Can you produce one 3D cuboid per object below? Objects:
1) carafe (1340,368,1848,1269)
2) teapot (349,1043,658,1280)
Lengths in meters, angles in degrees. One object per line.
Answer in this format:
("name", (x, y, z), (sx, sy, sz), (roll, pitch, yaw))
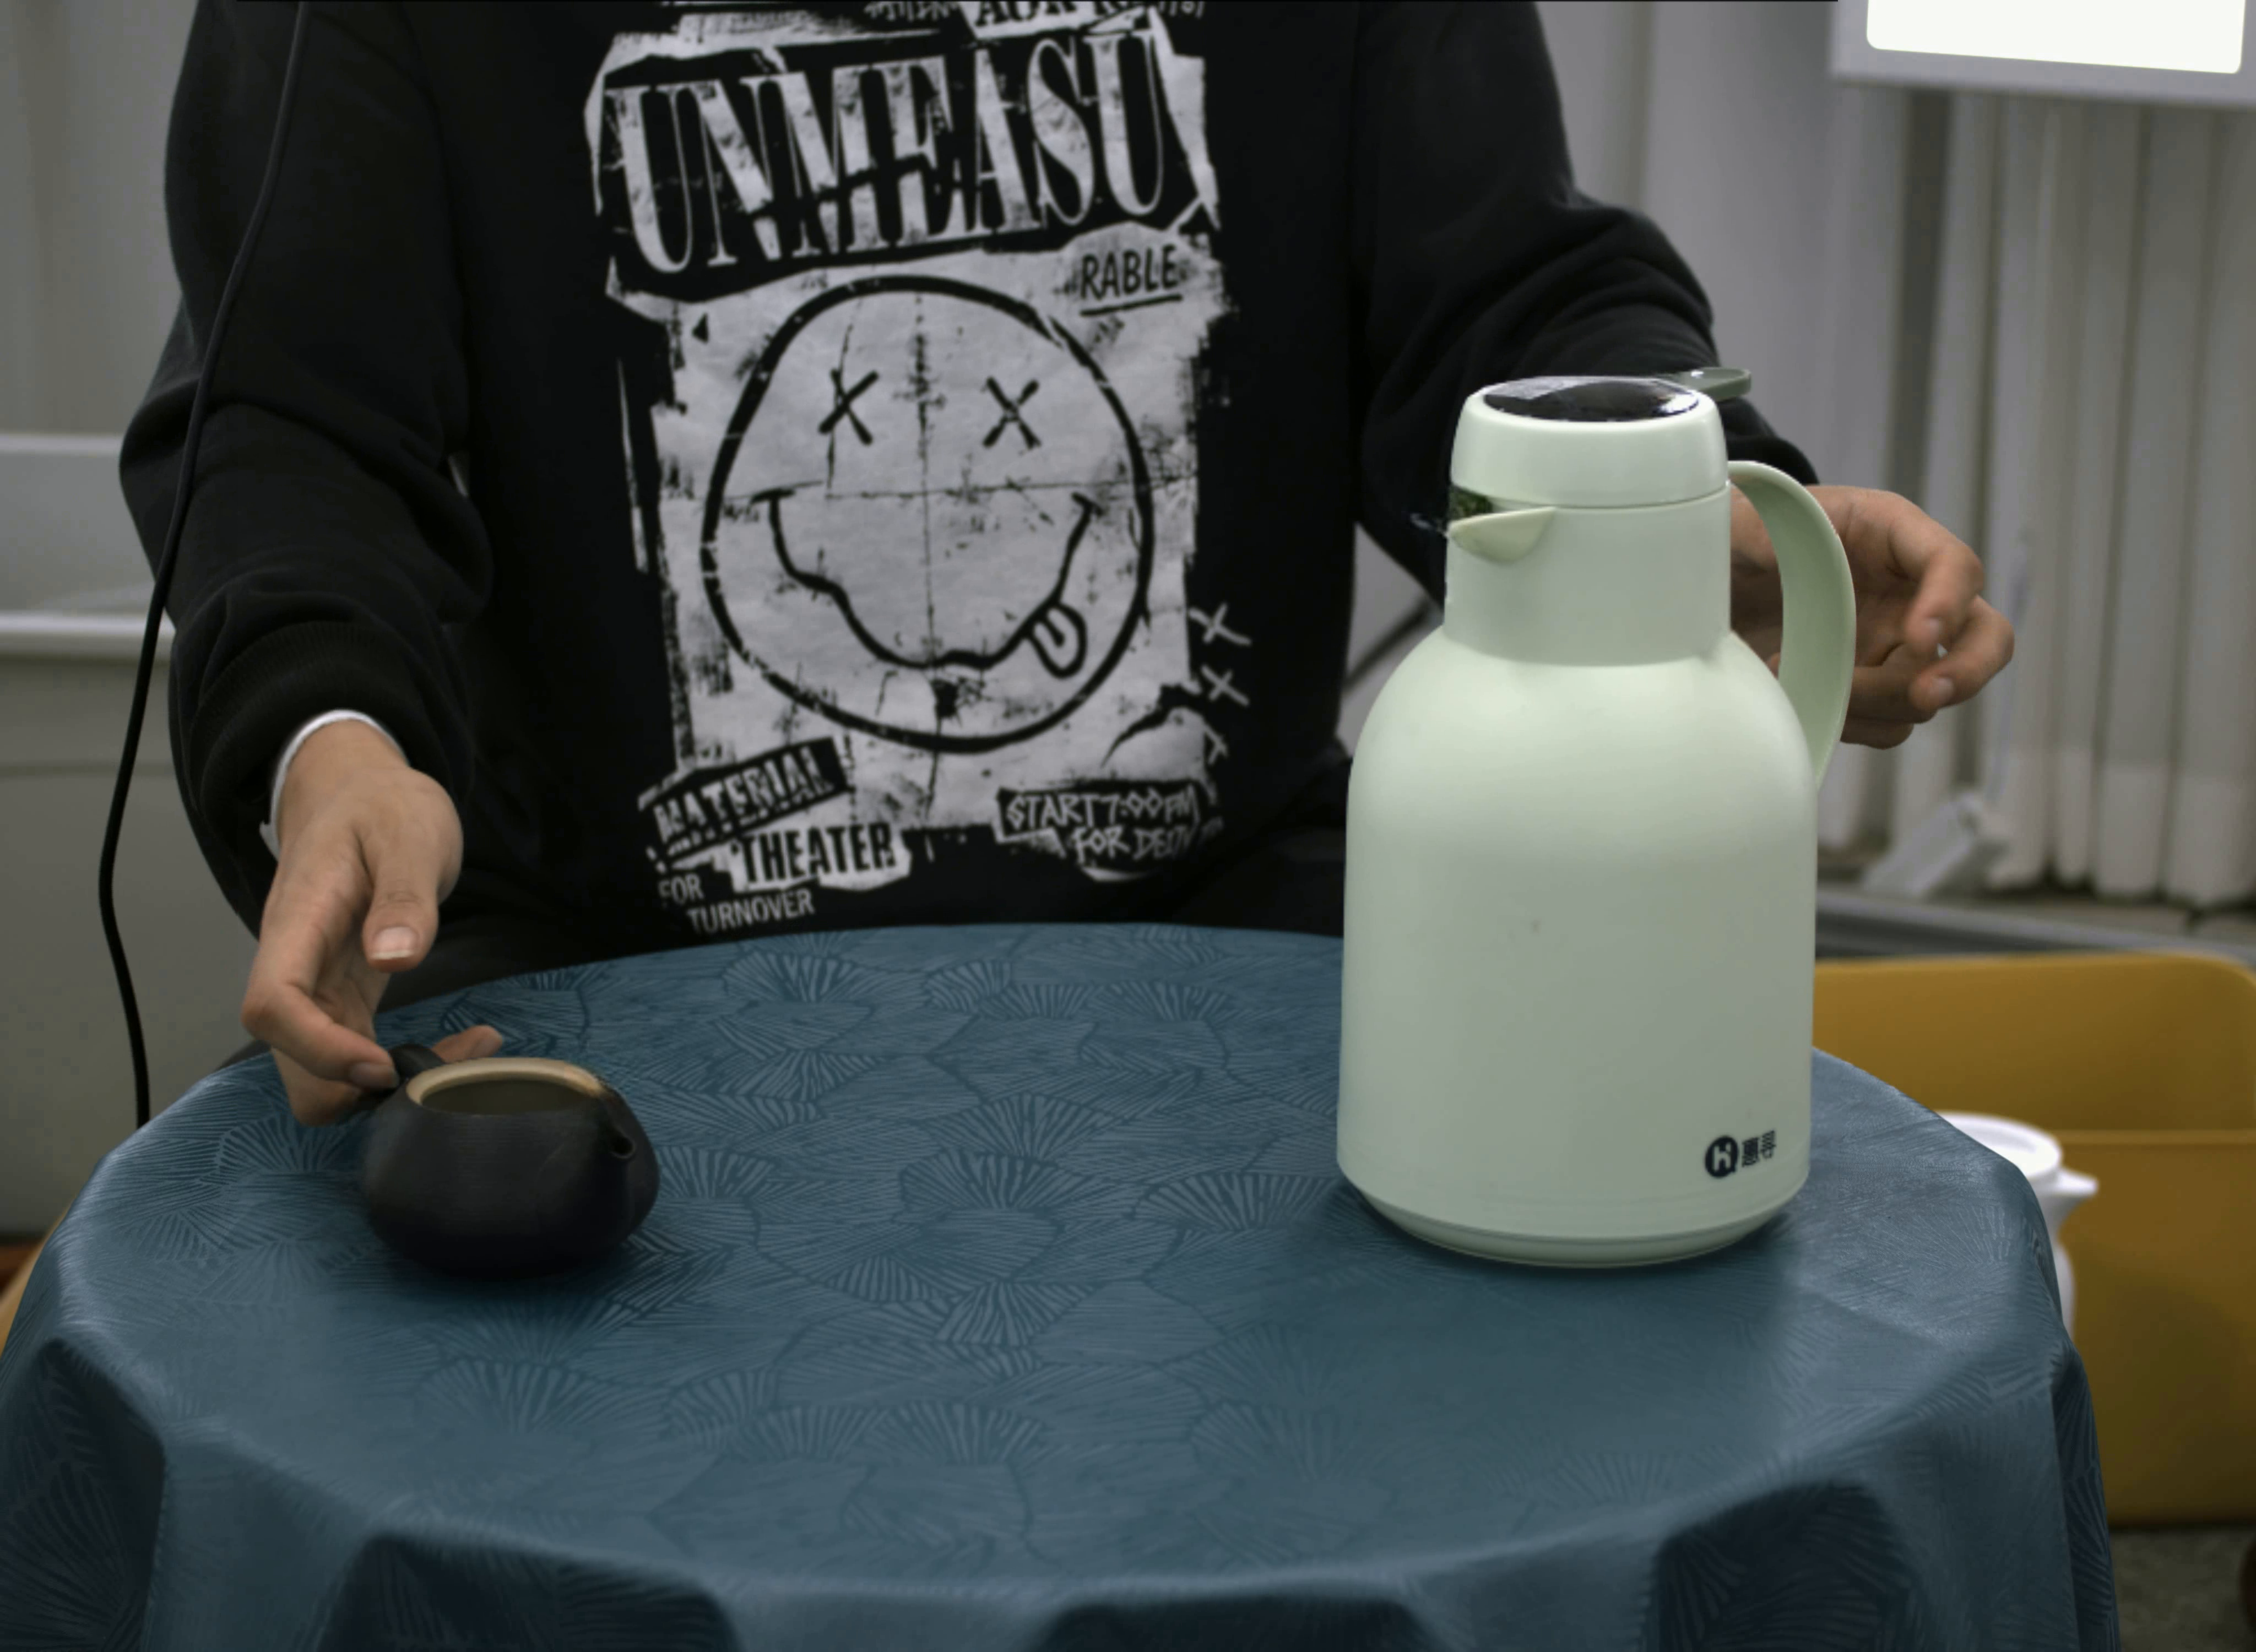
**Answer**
("carafe", (0.147, -0.007, 1.589), (0.188, 0.258, 0.142), (-11, 18, -44))
("teapot", (-0.185, 0.101, 1.557), (0.091, 0.053, 0.131), (-10, 19, -39))
